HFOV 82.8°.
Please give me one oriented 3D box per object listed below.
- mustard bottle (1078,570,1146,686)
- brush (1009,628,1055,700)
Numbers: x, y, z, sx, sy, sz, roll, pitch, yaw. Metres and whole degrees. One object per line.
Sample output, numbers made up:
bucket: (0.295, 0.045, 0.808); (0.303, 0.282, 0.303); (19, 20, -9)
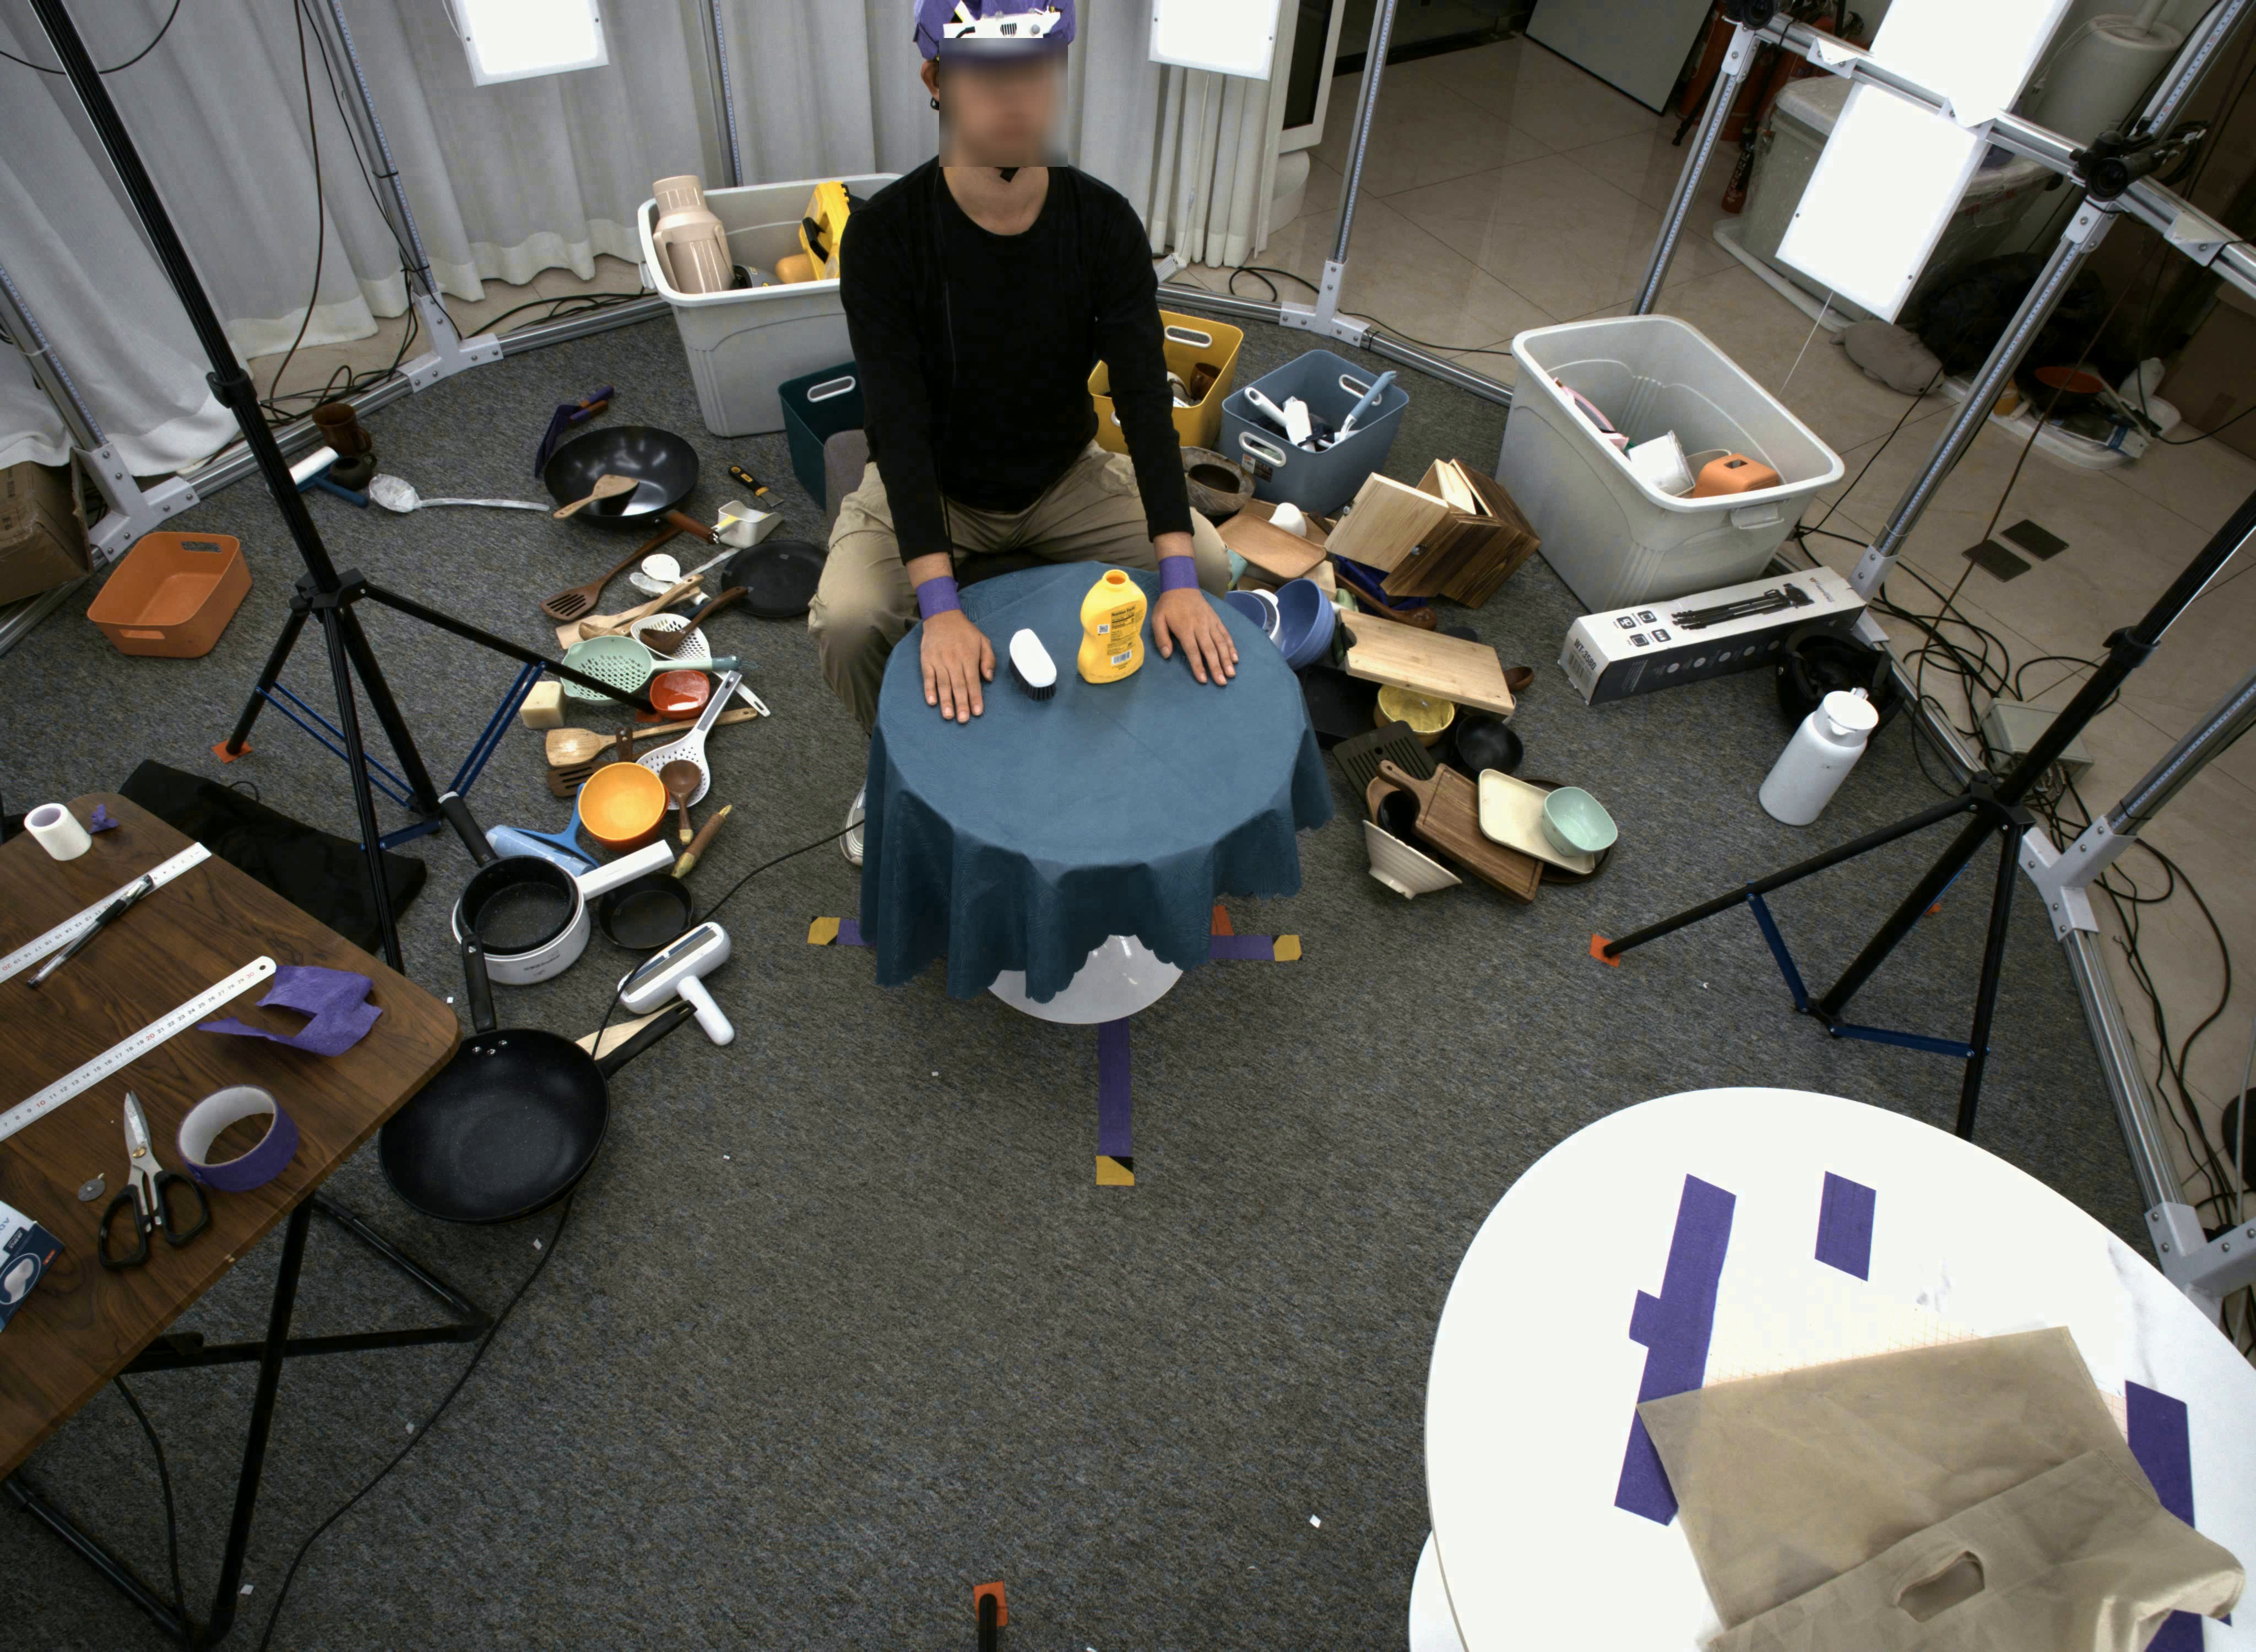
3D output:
mustard bottle: (-0.022, -0.280, 1.800); (0.098, 0.168, 0.060); (-23, 51, -21)
brush: (-0.135, -0.237, 1.814); (0.050, 0.071, 0.101); (-16, 53, -19)
